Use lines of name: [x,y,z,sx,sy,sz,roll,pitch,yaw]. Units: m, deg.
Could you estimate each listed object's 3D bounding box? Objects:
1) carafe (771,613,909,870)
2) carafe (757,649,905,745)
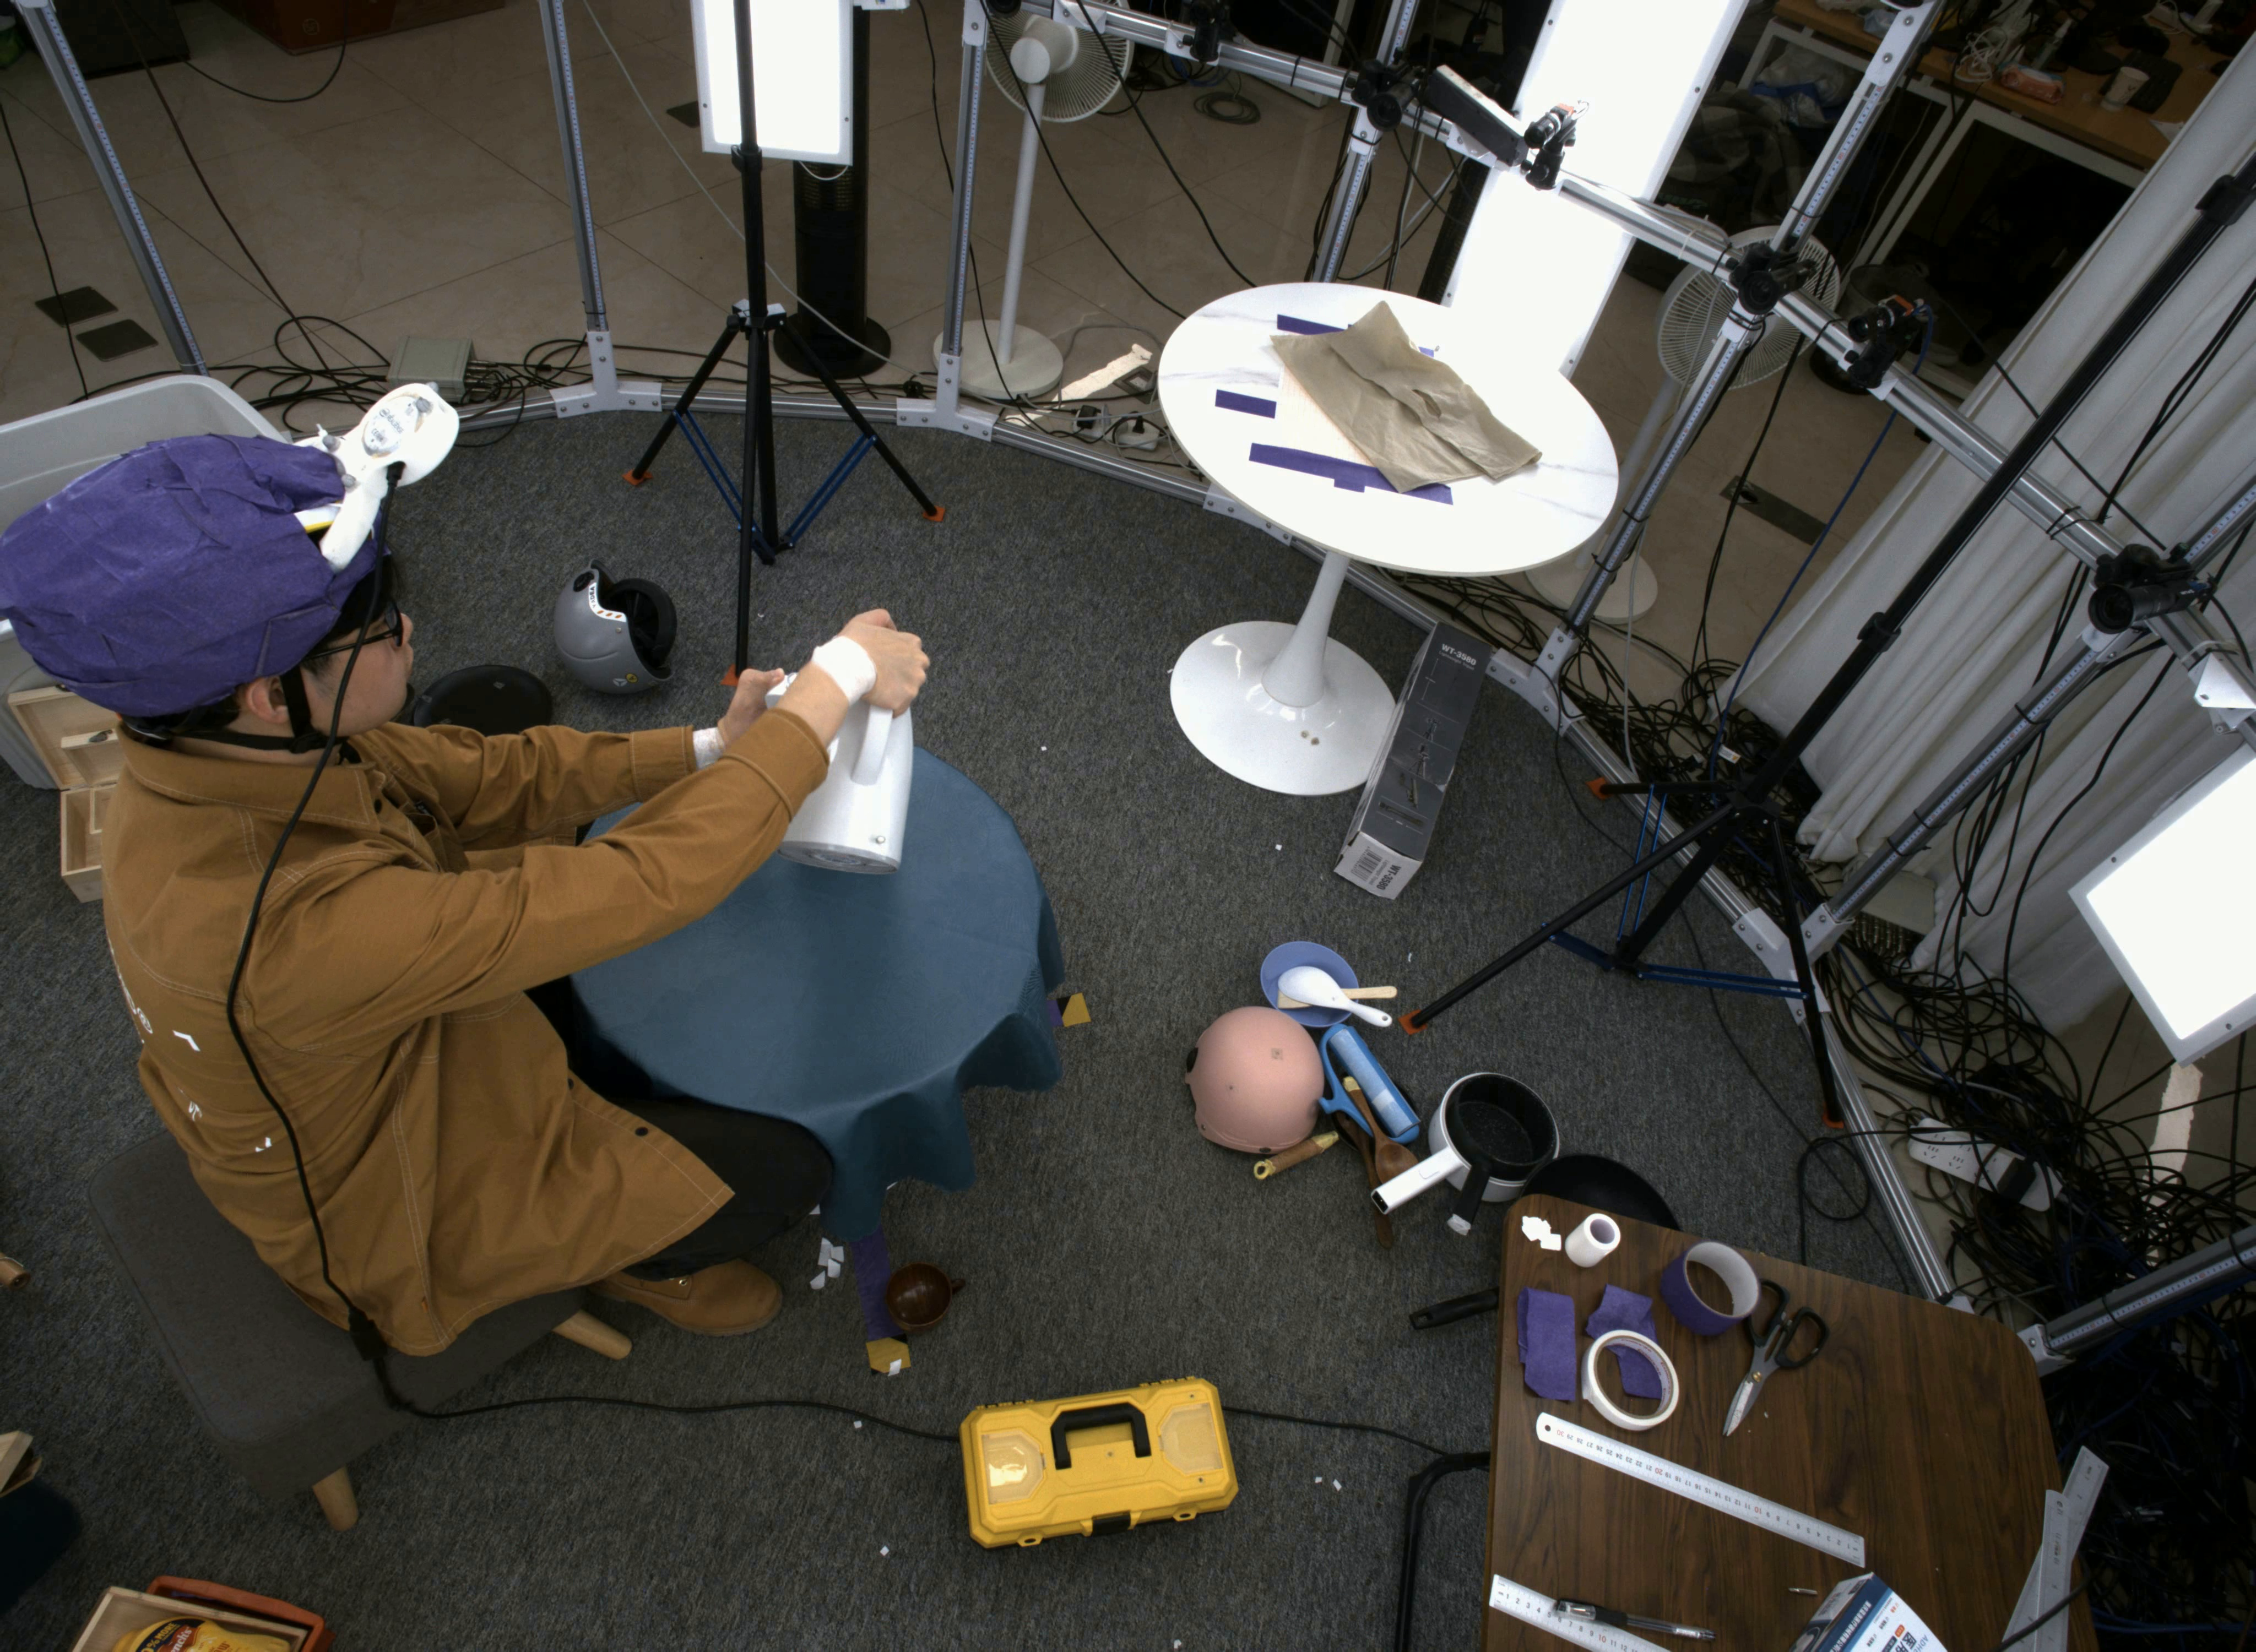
carafe: [-0.287,-0.094,1.368,0.134,0.165,0.249,12,77,-24]
carafe: [-0.367,-0.097,1.598,0.173,0.272,0.122,10,60,-8]
